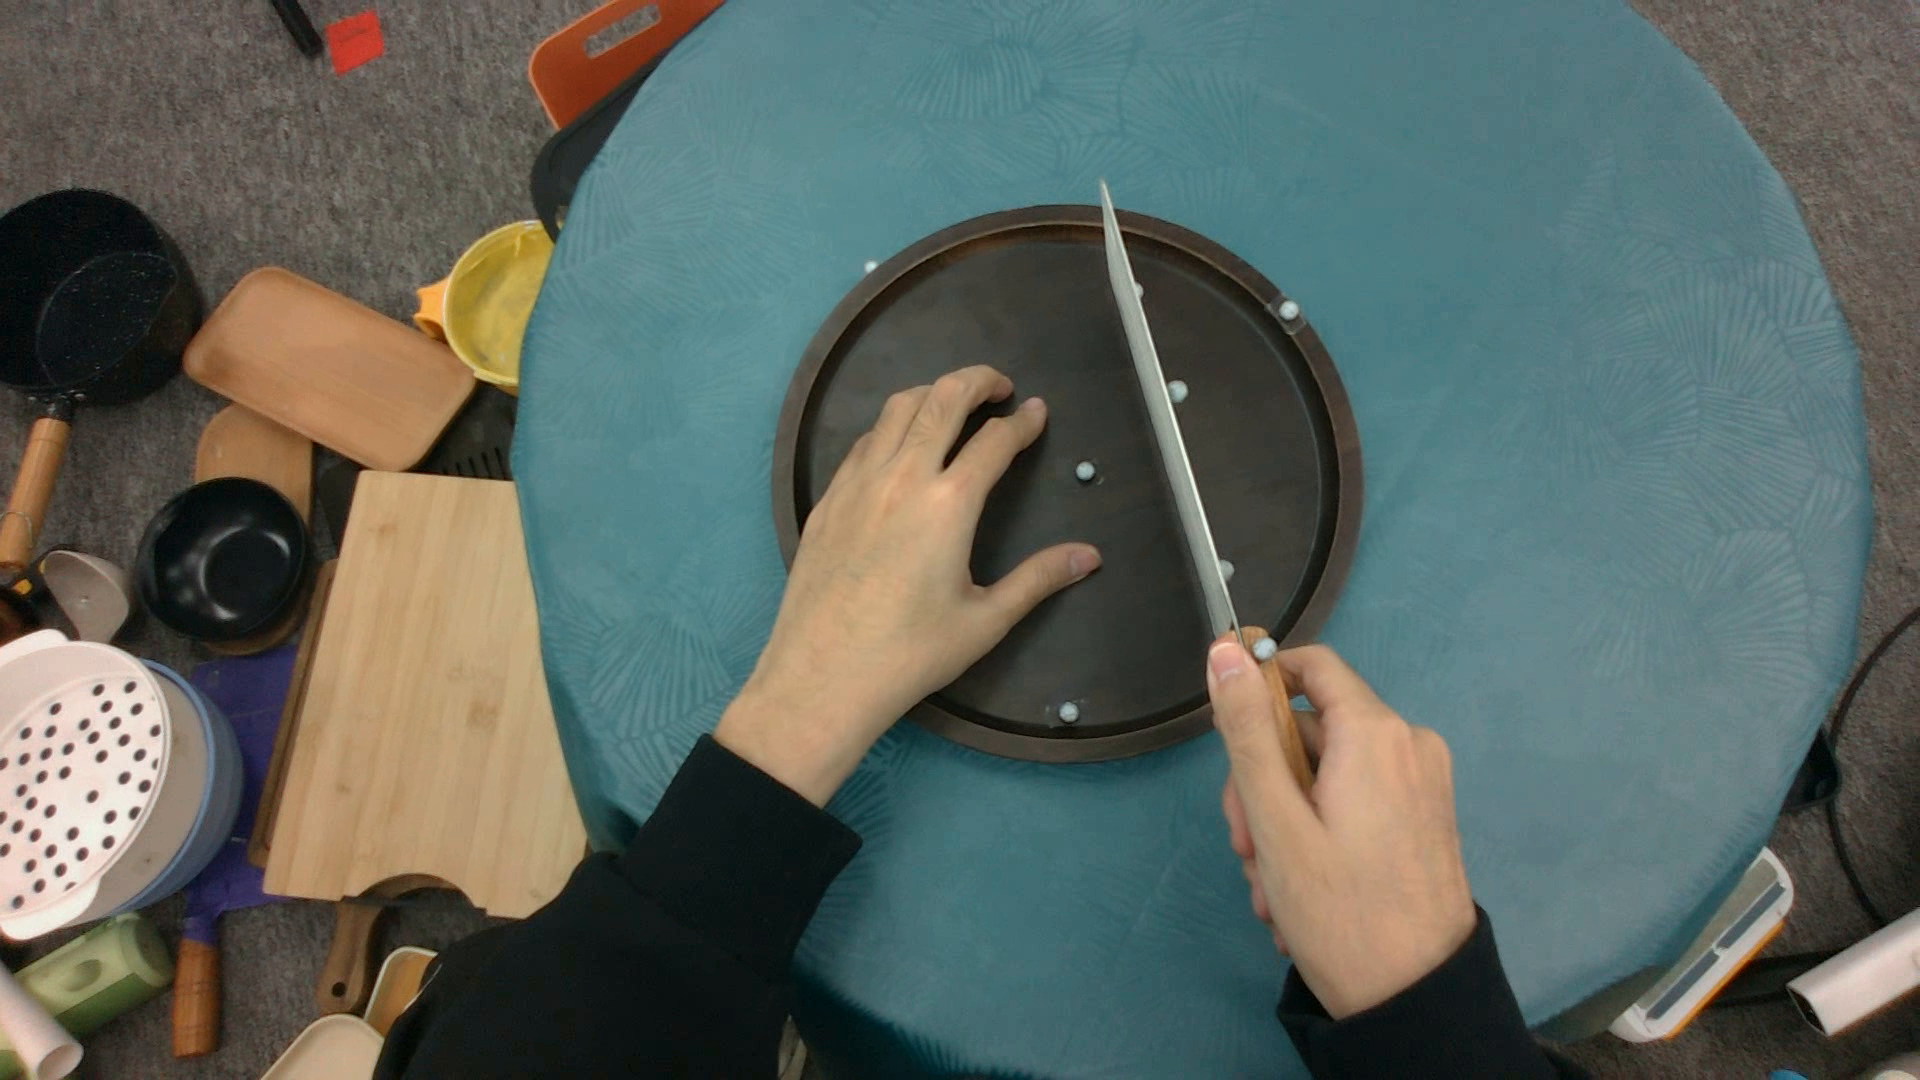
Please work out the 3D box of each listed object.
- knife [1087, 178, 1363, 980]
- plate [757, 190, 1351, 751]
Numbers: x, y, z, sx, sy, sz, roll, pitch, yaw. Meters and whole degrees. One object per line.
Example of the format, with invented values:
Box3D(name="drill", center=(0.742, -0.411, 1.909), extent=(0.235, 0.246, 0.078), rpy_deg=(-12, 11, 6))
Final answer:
Box3D(name="knife", center=(0.091, 0.009, 0.524), extent=(0.021, 0.093, 0.306), rpy_deg=(-16, 73, 4))
Box3D(name="plate", center=(0.040, -0.035, 0.593), extent=(0.255, 0.029, 0.255), rpy_deg=(1, 72, -2))
